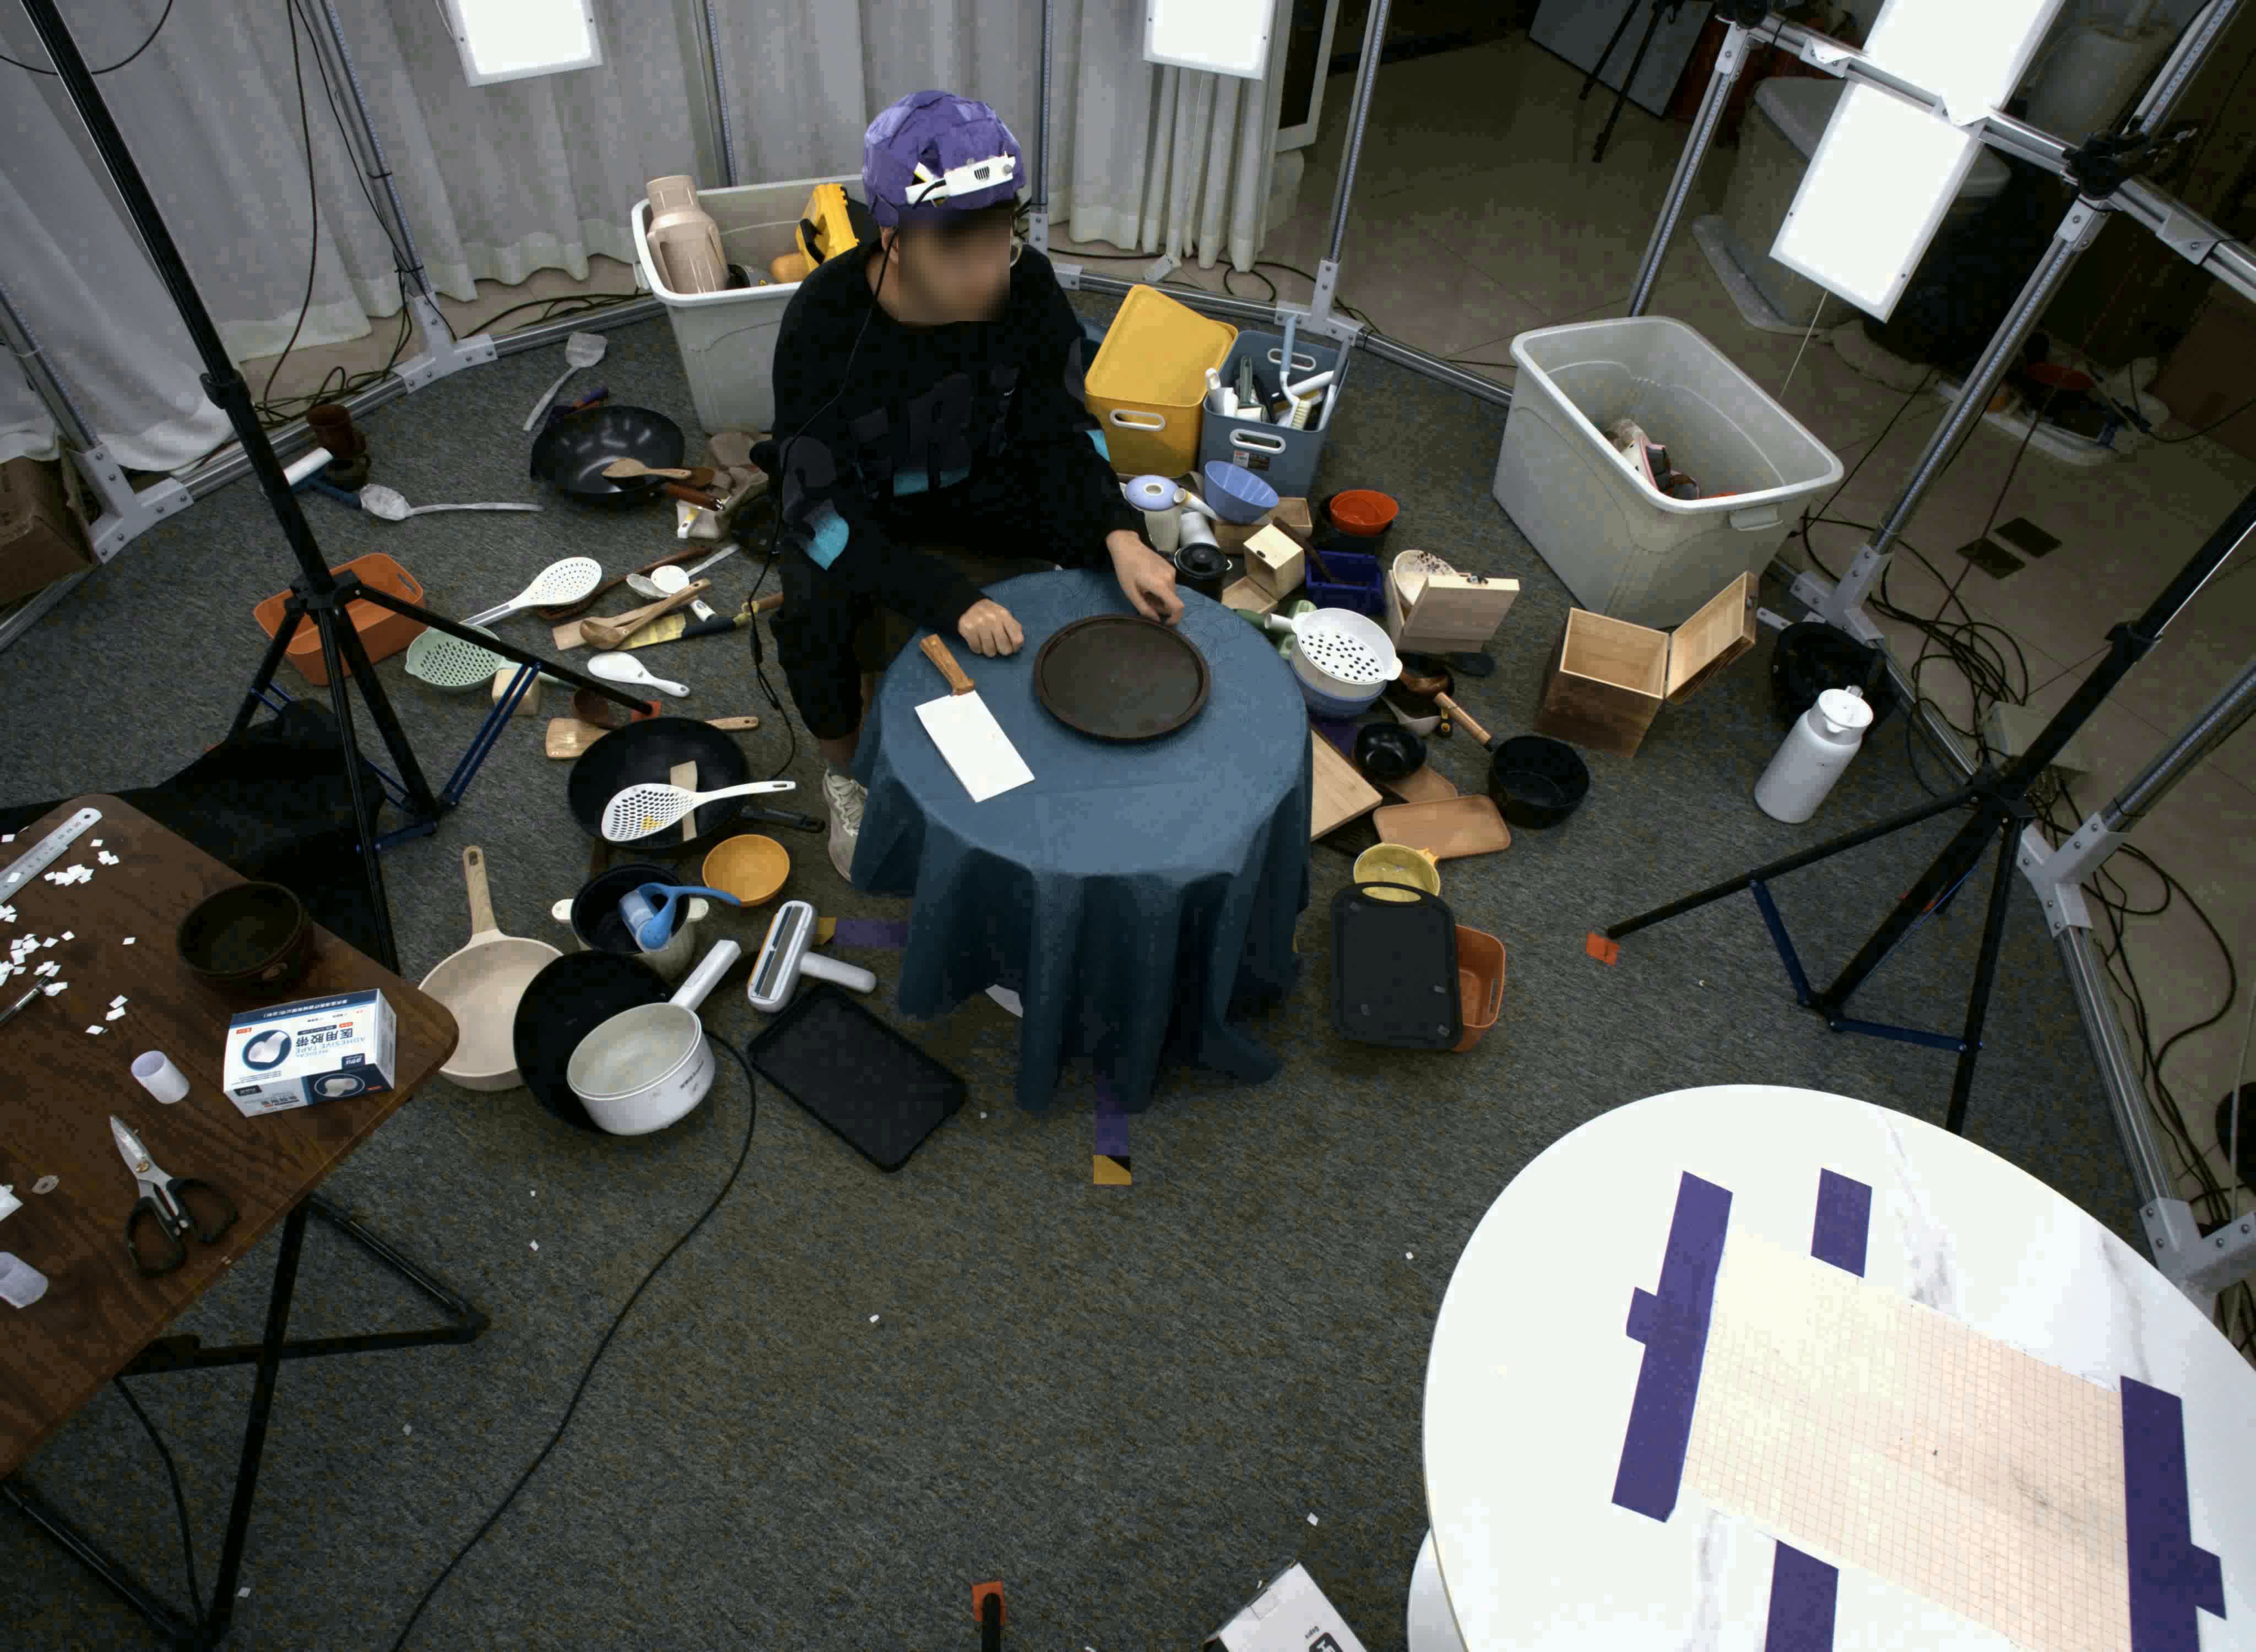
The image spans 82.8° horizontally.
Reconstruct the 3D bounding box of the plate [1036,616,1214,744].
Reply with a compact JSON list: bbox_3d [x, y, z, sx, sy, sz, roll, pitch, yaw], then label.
[{"bbox_3d":[-0.005,-0.211,1.835,0.254,0.028,0.261,1,51,-2],"label":"plate"}]

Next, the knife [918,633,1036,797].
[{"bbox_3d":[-0.233,-0.155,1.778,0.093,0.020,0.312,-23,56,-20],"label":"knife"}]
